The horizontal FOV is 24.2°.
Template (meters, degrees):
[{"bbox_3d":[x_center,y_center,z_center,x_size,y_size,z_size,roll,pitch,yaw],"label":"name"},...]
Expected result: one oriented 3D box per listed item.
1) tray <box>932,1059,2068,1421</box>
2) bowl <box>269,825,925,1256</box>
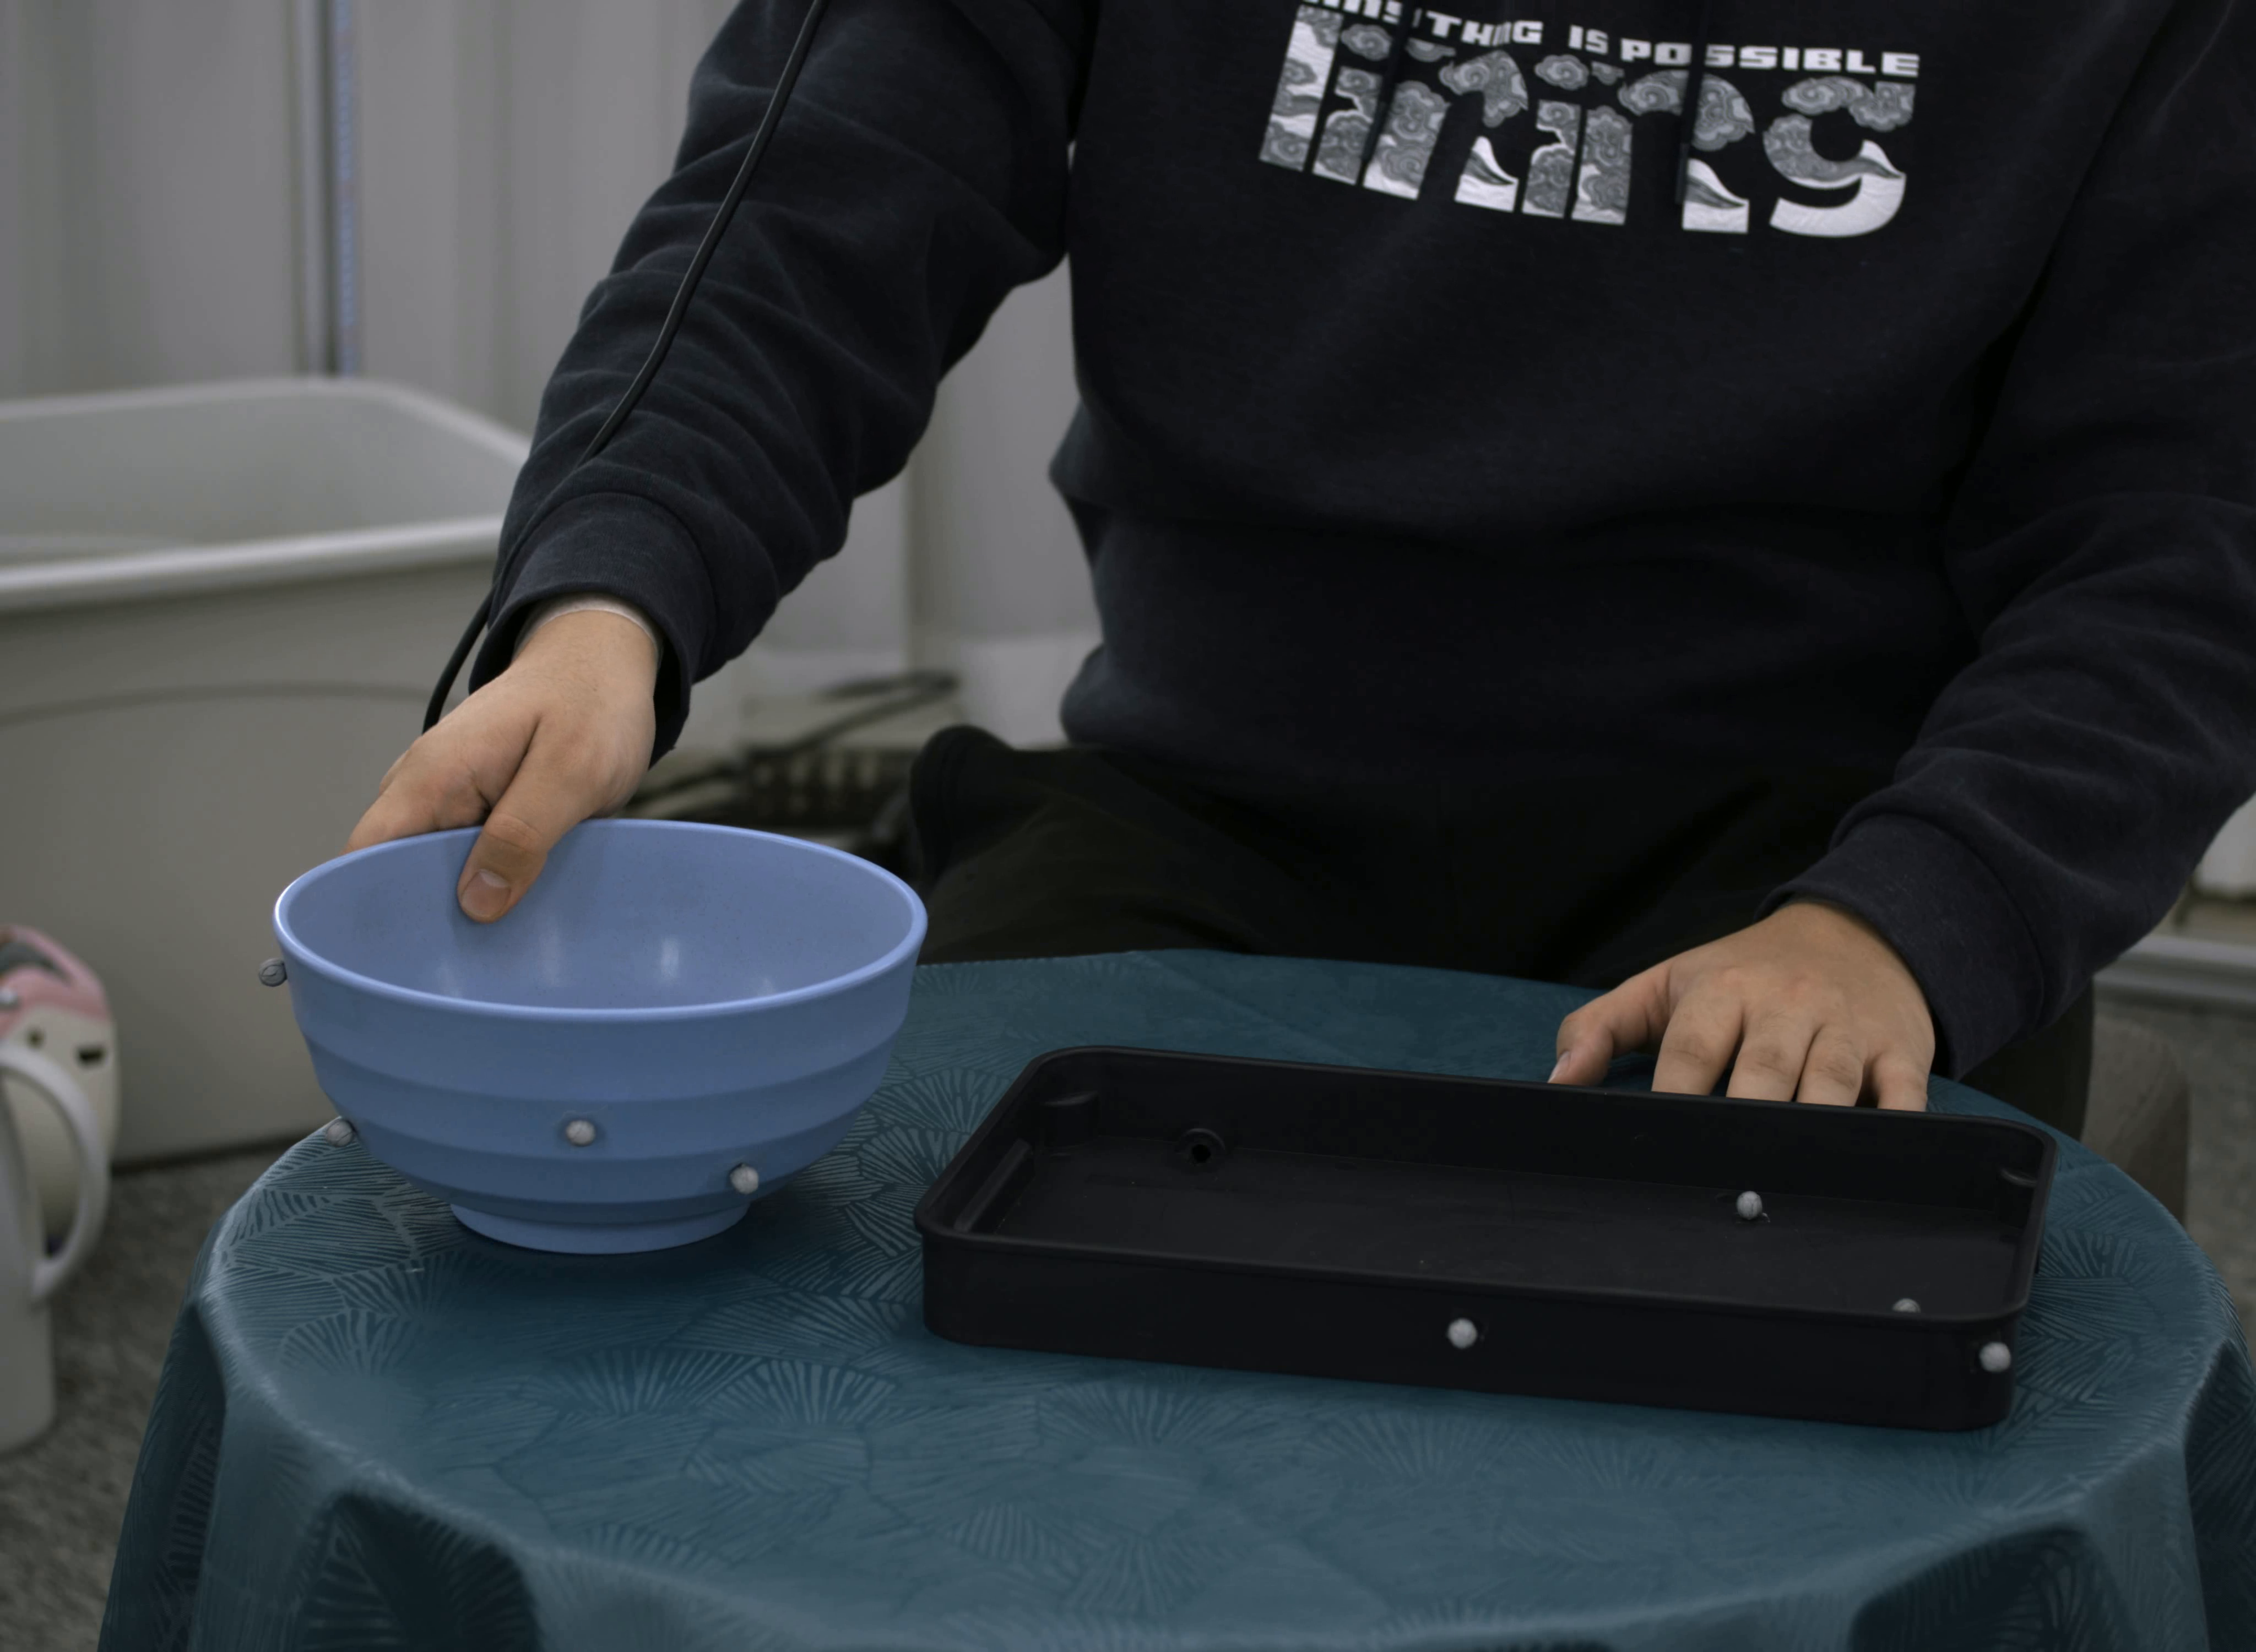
[{"bbox_3d":[0.113,0.119,1.547,0.316,0.037,0.184,2,15,10],"label":"tray"},{"bbox_3d":[-0.159,0.070,1.591,0.196,0.096,0.195,1,16,0],"label":"bowl"}]
